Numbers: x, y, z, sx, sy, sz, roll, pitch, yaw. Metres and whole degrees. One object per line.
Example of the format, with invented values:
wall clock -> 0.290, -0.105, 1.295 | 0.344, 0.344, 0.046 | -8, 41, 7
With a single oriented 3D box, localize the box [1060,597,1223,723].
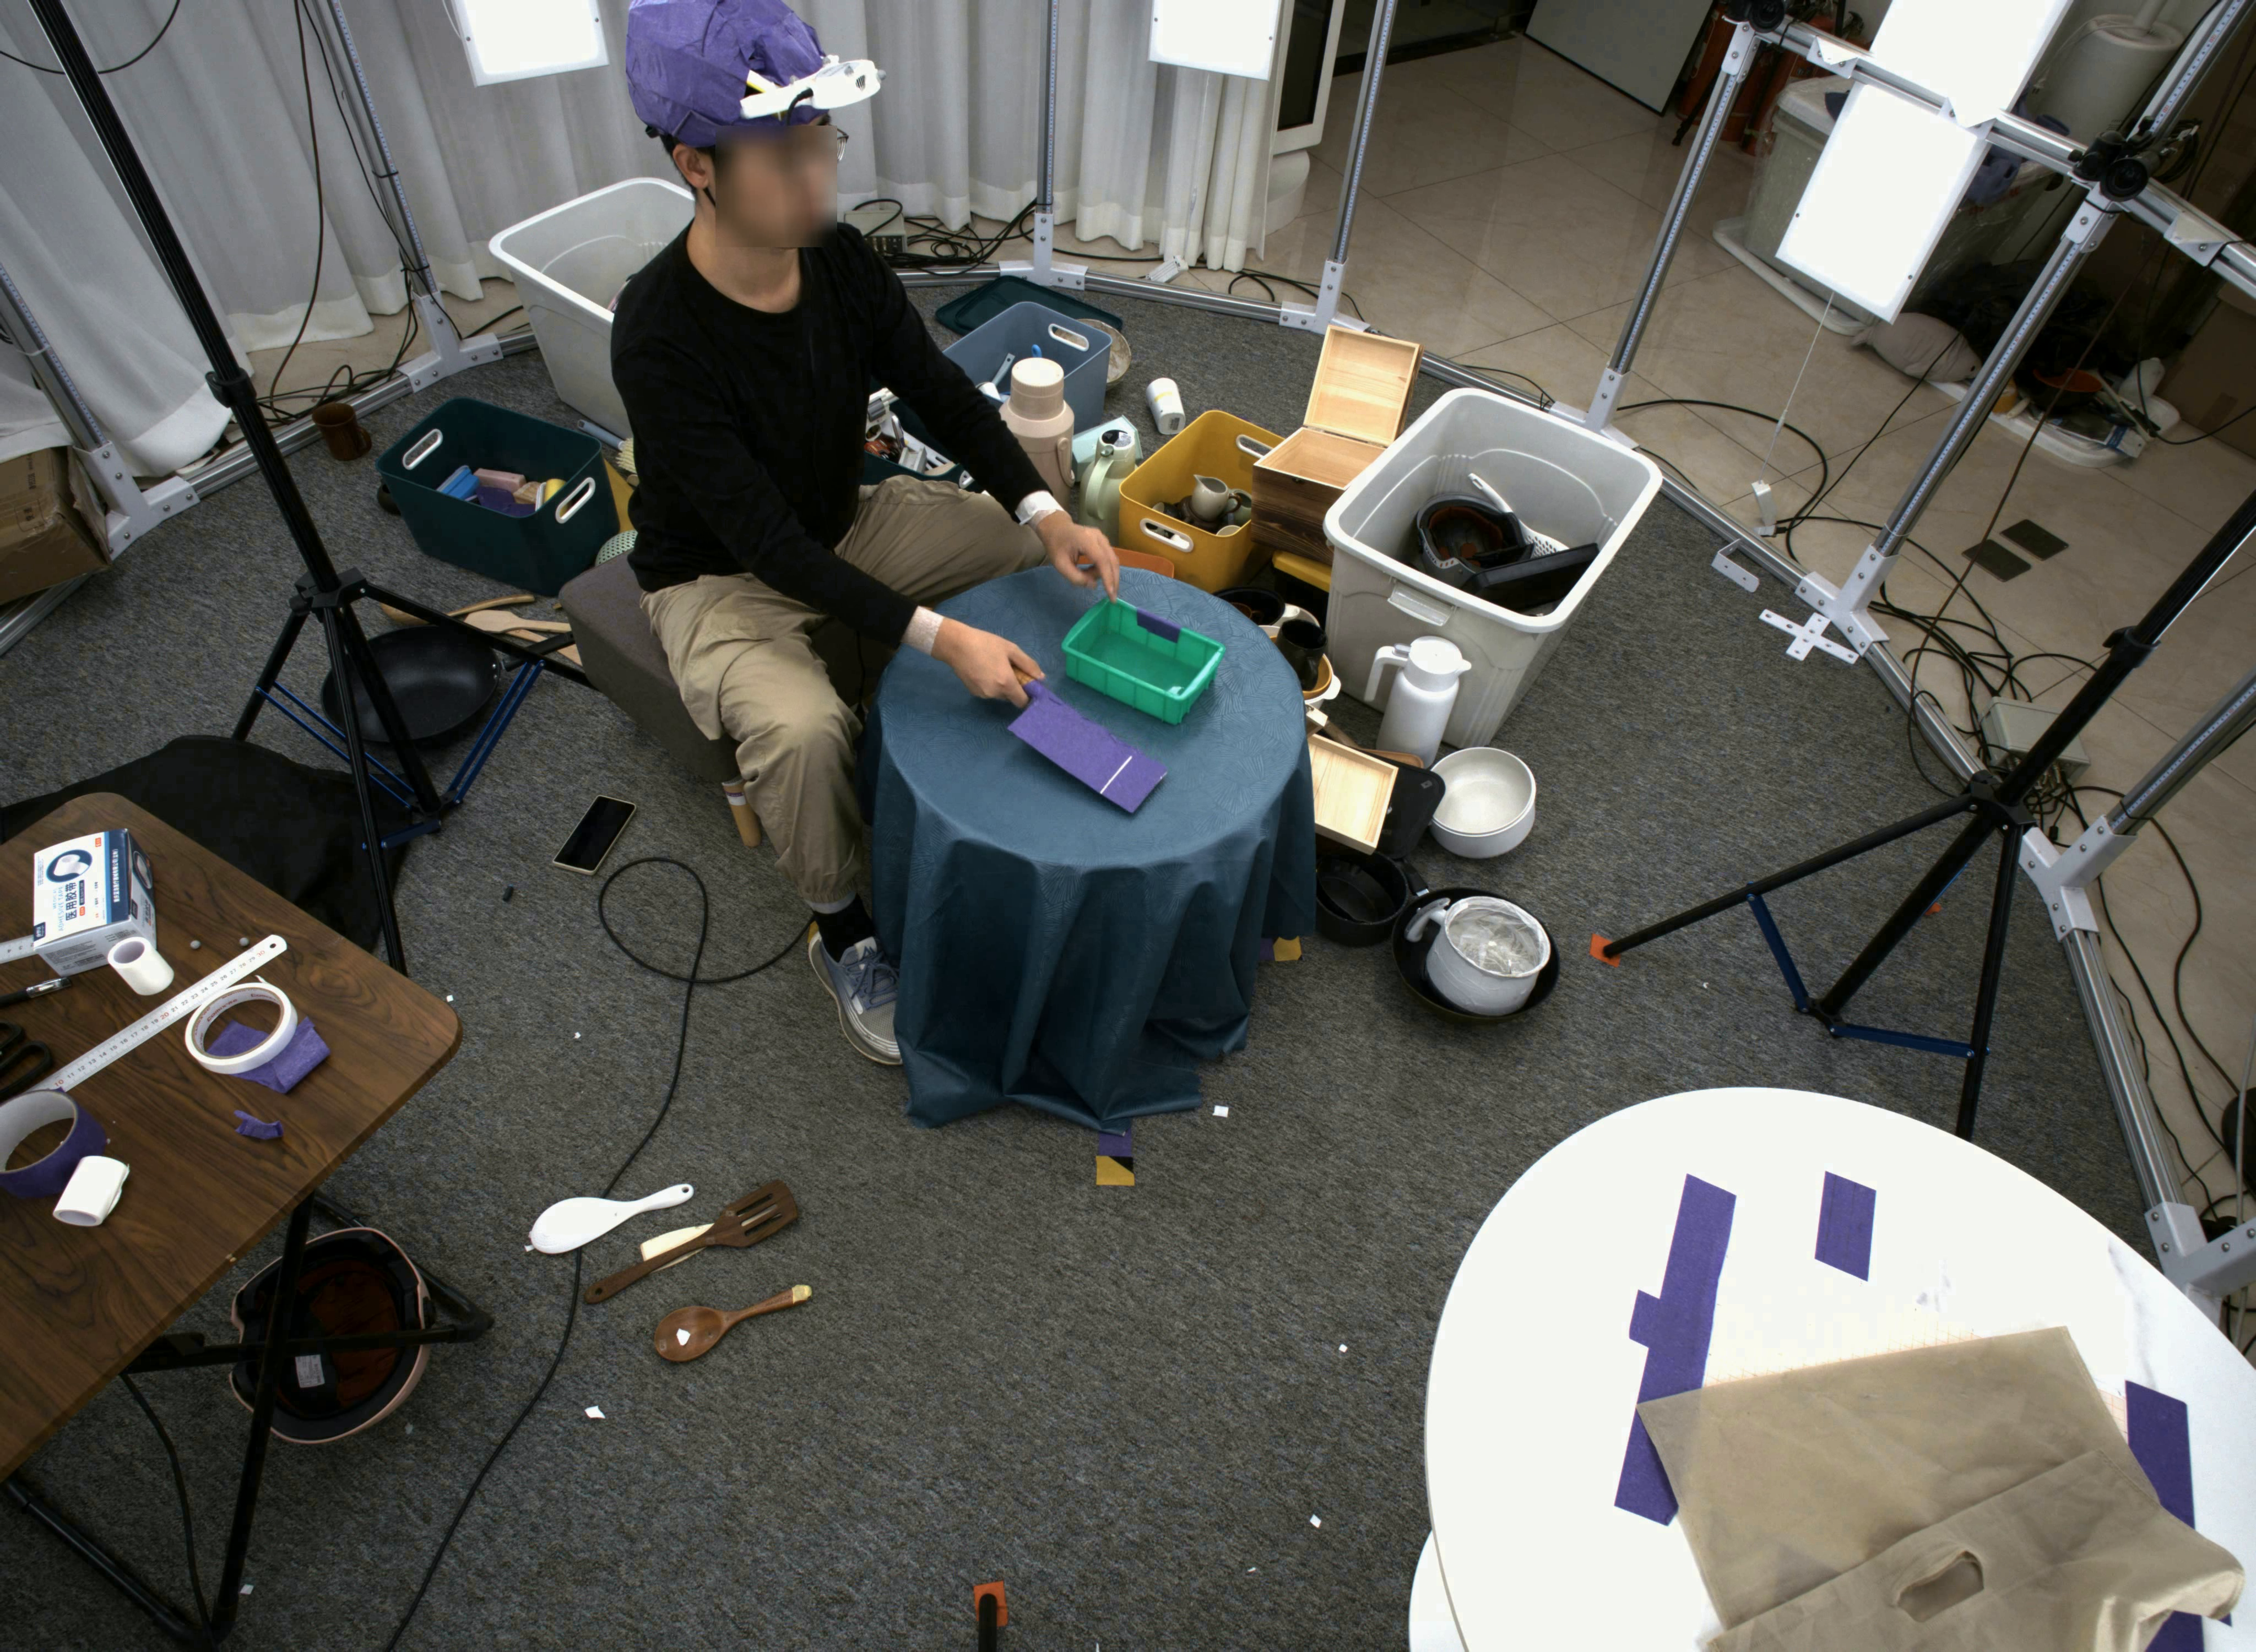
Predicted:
box -> 0.018, -0.236, 1.835 | 0.212, 0.064, 0.141 | 24, 50, 18

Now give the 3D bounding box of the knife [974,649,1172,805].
knife -> -0.093, -0.135, 1.729 | 0.318, 0.031, 0.105 | 32, 54, 15
